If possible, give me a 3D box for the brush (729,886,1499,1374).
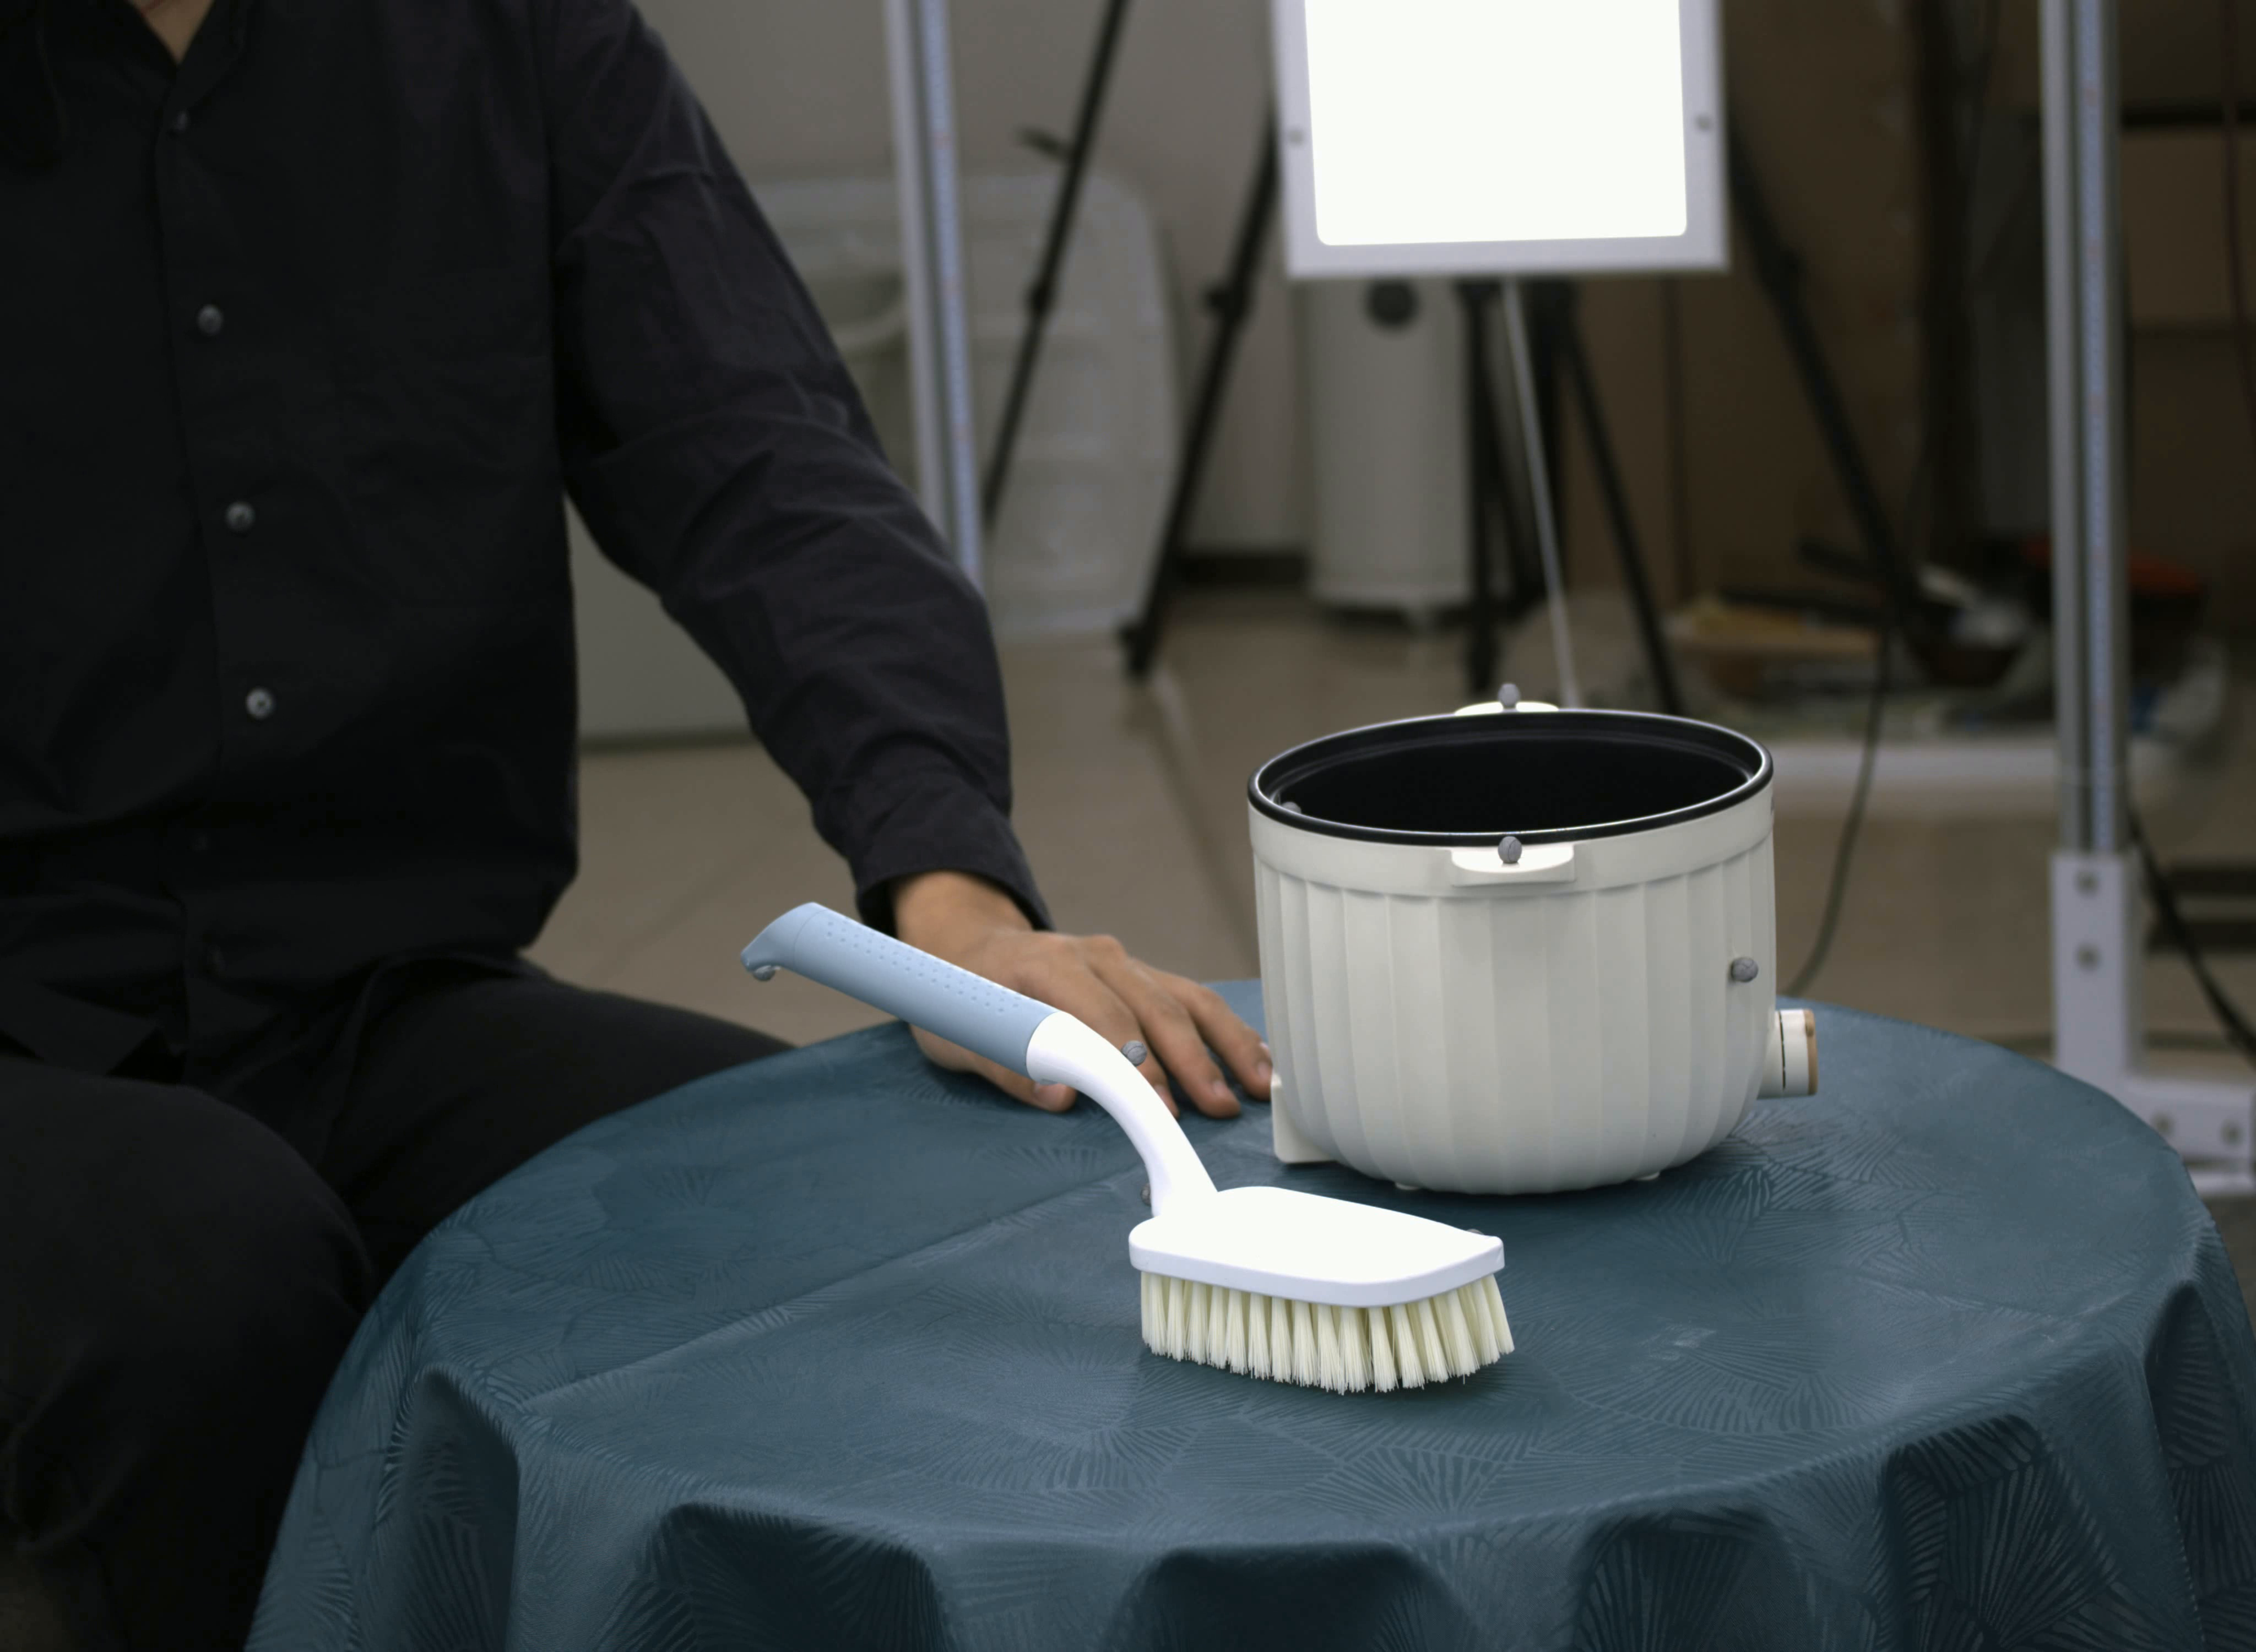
[{"bbox_3d":[-0.010,0.111,1.782,0.331,0.084,0.081,22,-9,38],"label":"brush"}]

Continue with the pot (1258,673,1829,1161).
[{"bbox_3d":[0.145,0.033,1.908,0.191,0.143,0.239,-6,15,5],"label":"pot"}]
